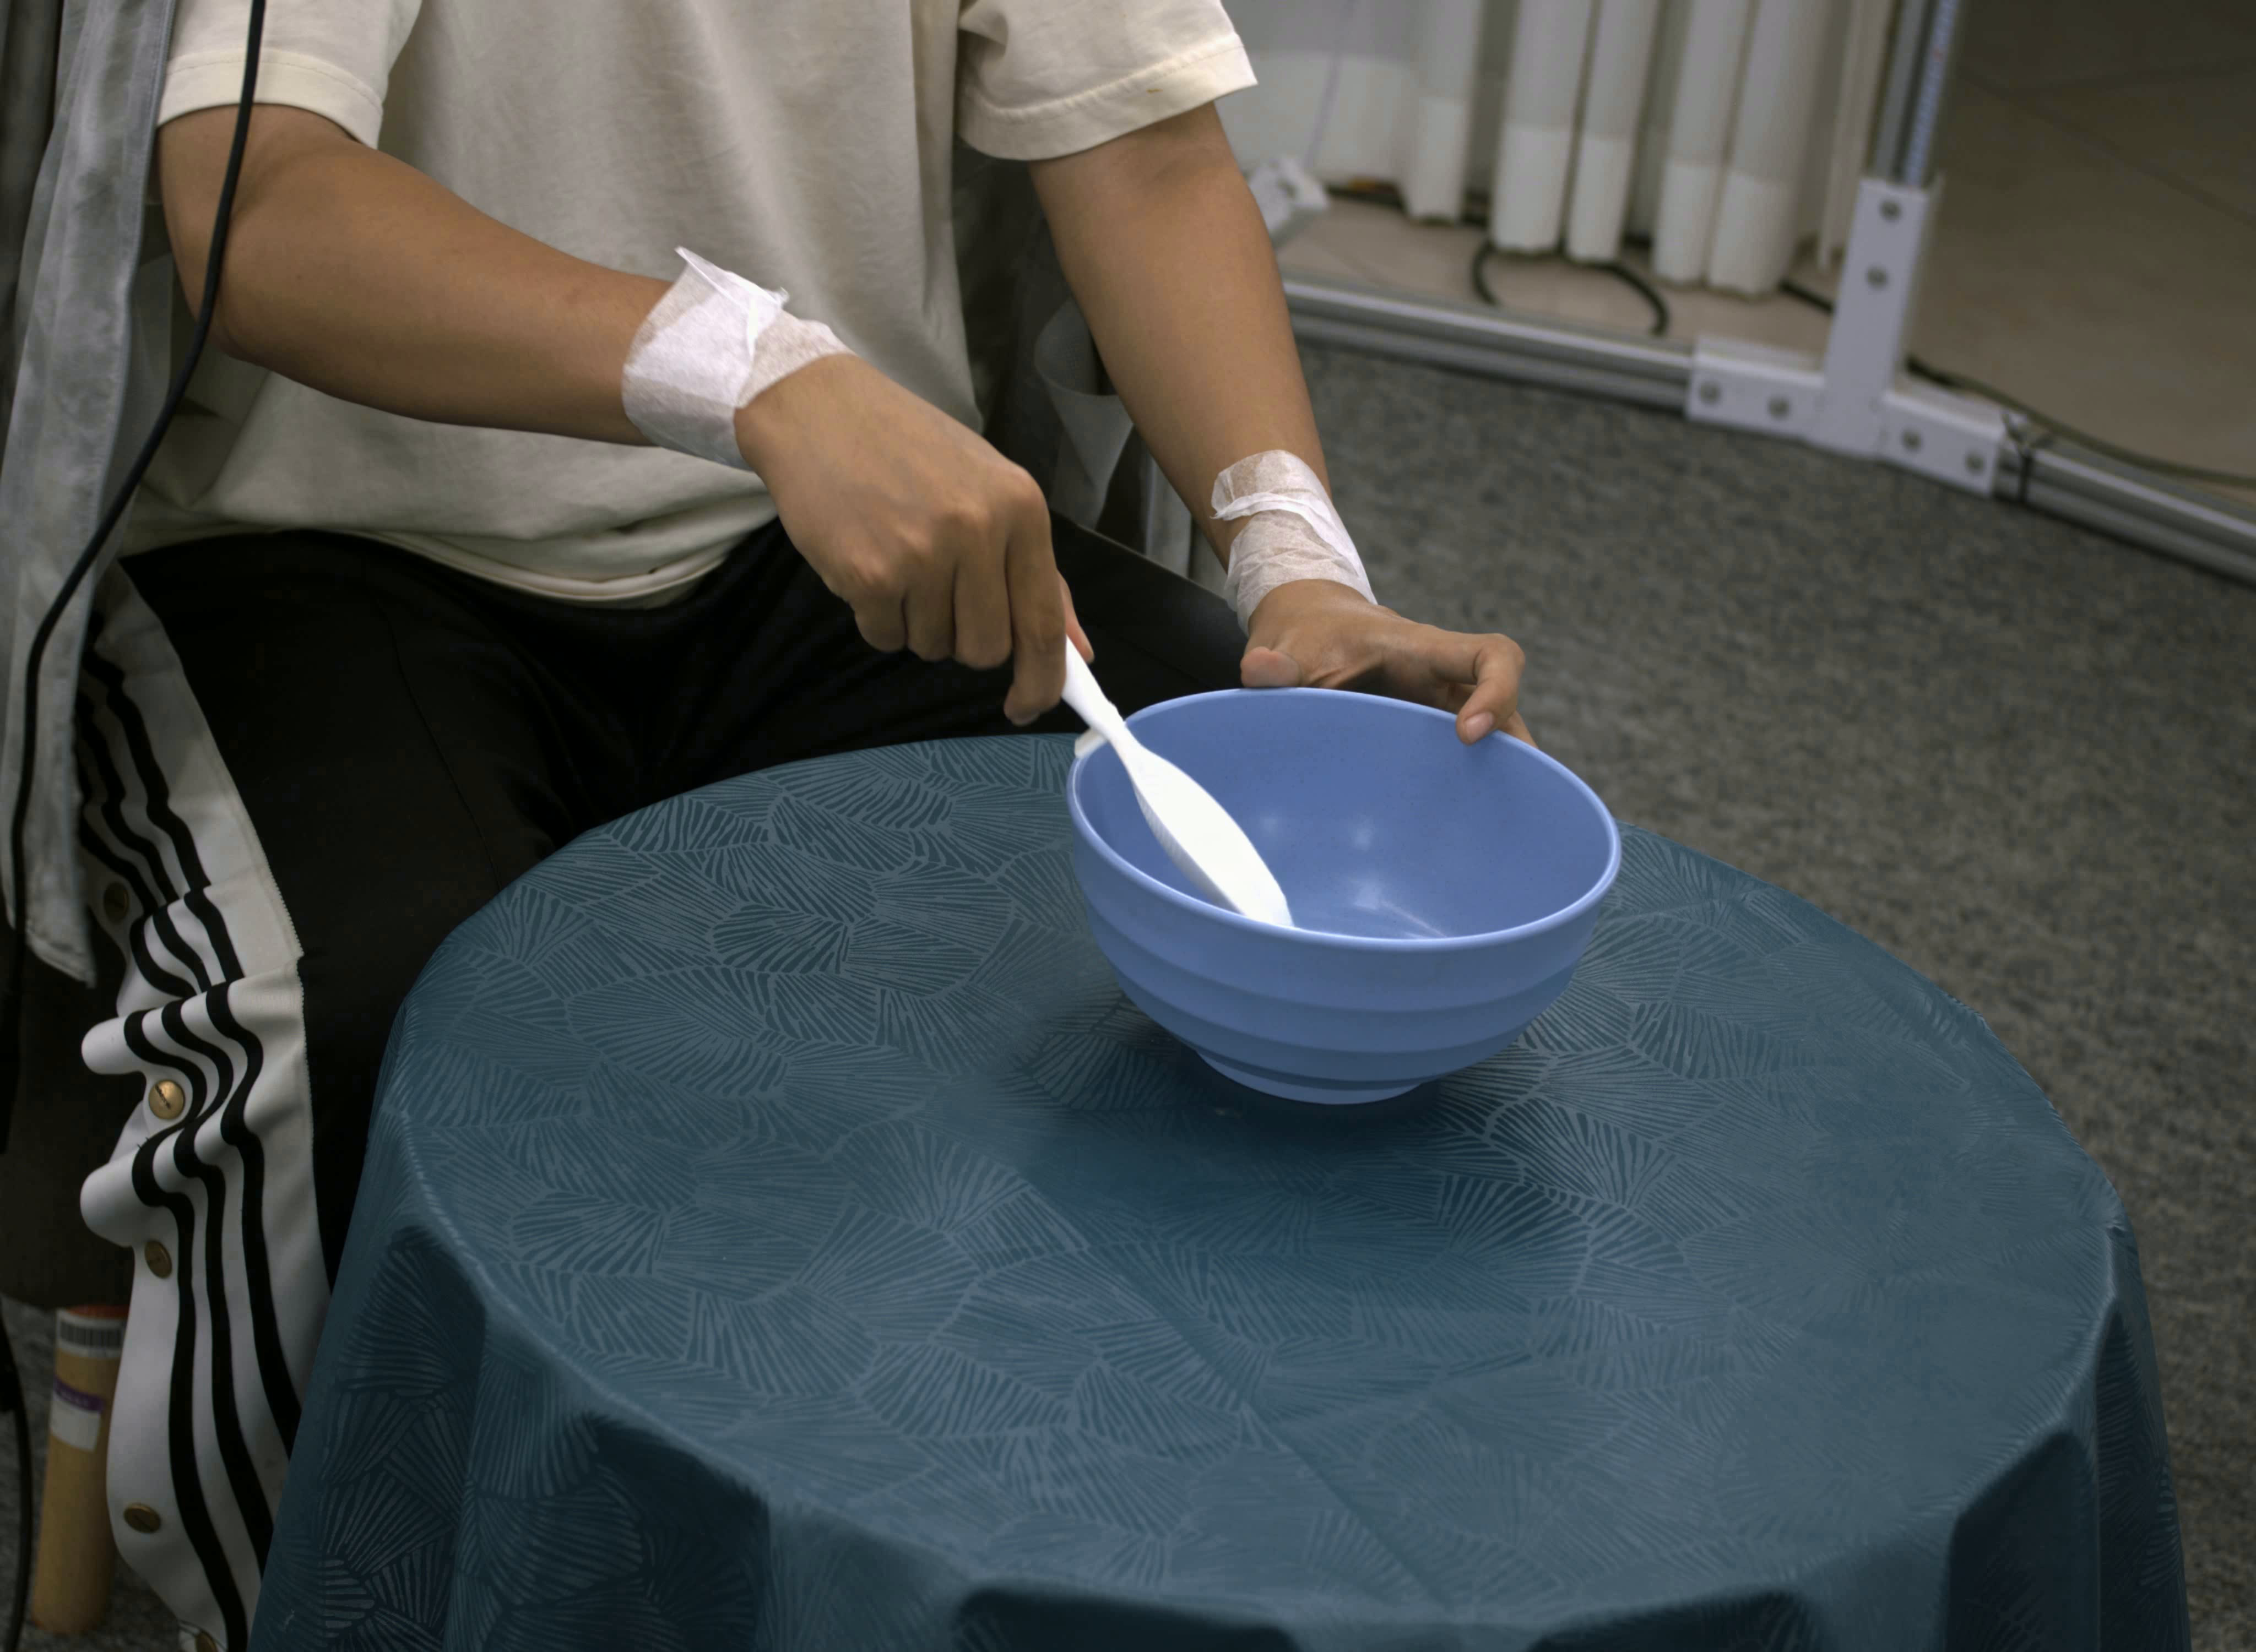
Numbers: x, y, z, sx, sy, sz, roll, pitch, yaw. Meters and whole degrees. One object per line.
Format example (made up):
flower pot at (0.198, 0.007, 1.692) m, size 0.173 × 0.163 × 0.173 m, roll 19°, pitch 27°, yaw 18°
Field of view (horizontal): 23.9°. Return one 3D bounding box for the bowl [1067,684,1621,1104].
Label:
bowl at (0.071, 0.035, 1.890) m, size 0.196 × 0.095 × 0.198 m, roll 5°, pitch 28°, yaw -3°

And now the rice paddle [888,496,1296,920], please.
rice paddle at (-0.005, -0.034, 1.856) m, size 0.204 × 0.029 × 0.069 m, roll 46°, pitch 18°, yaw -18°
